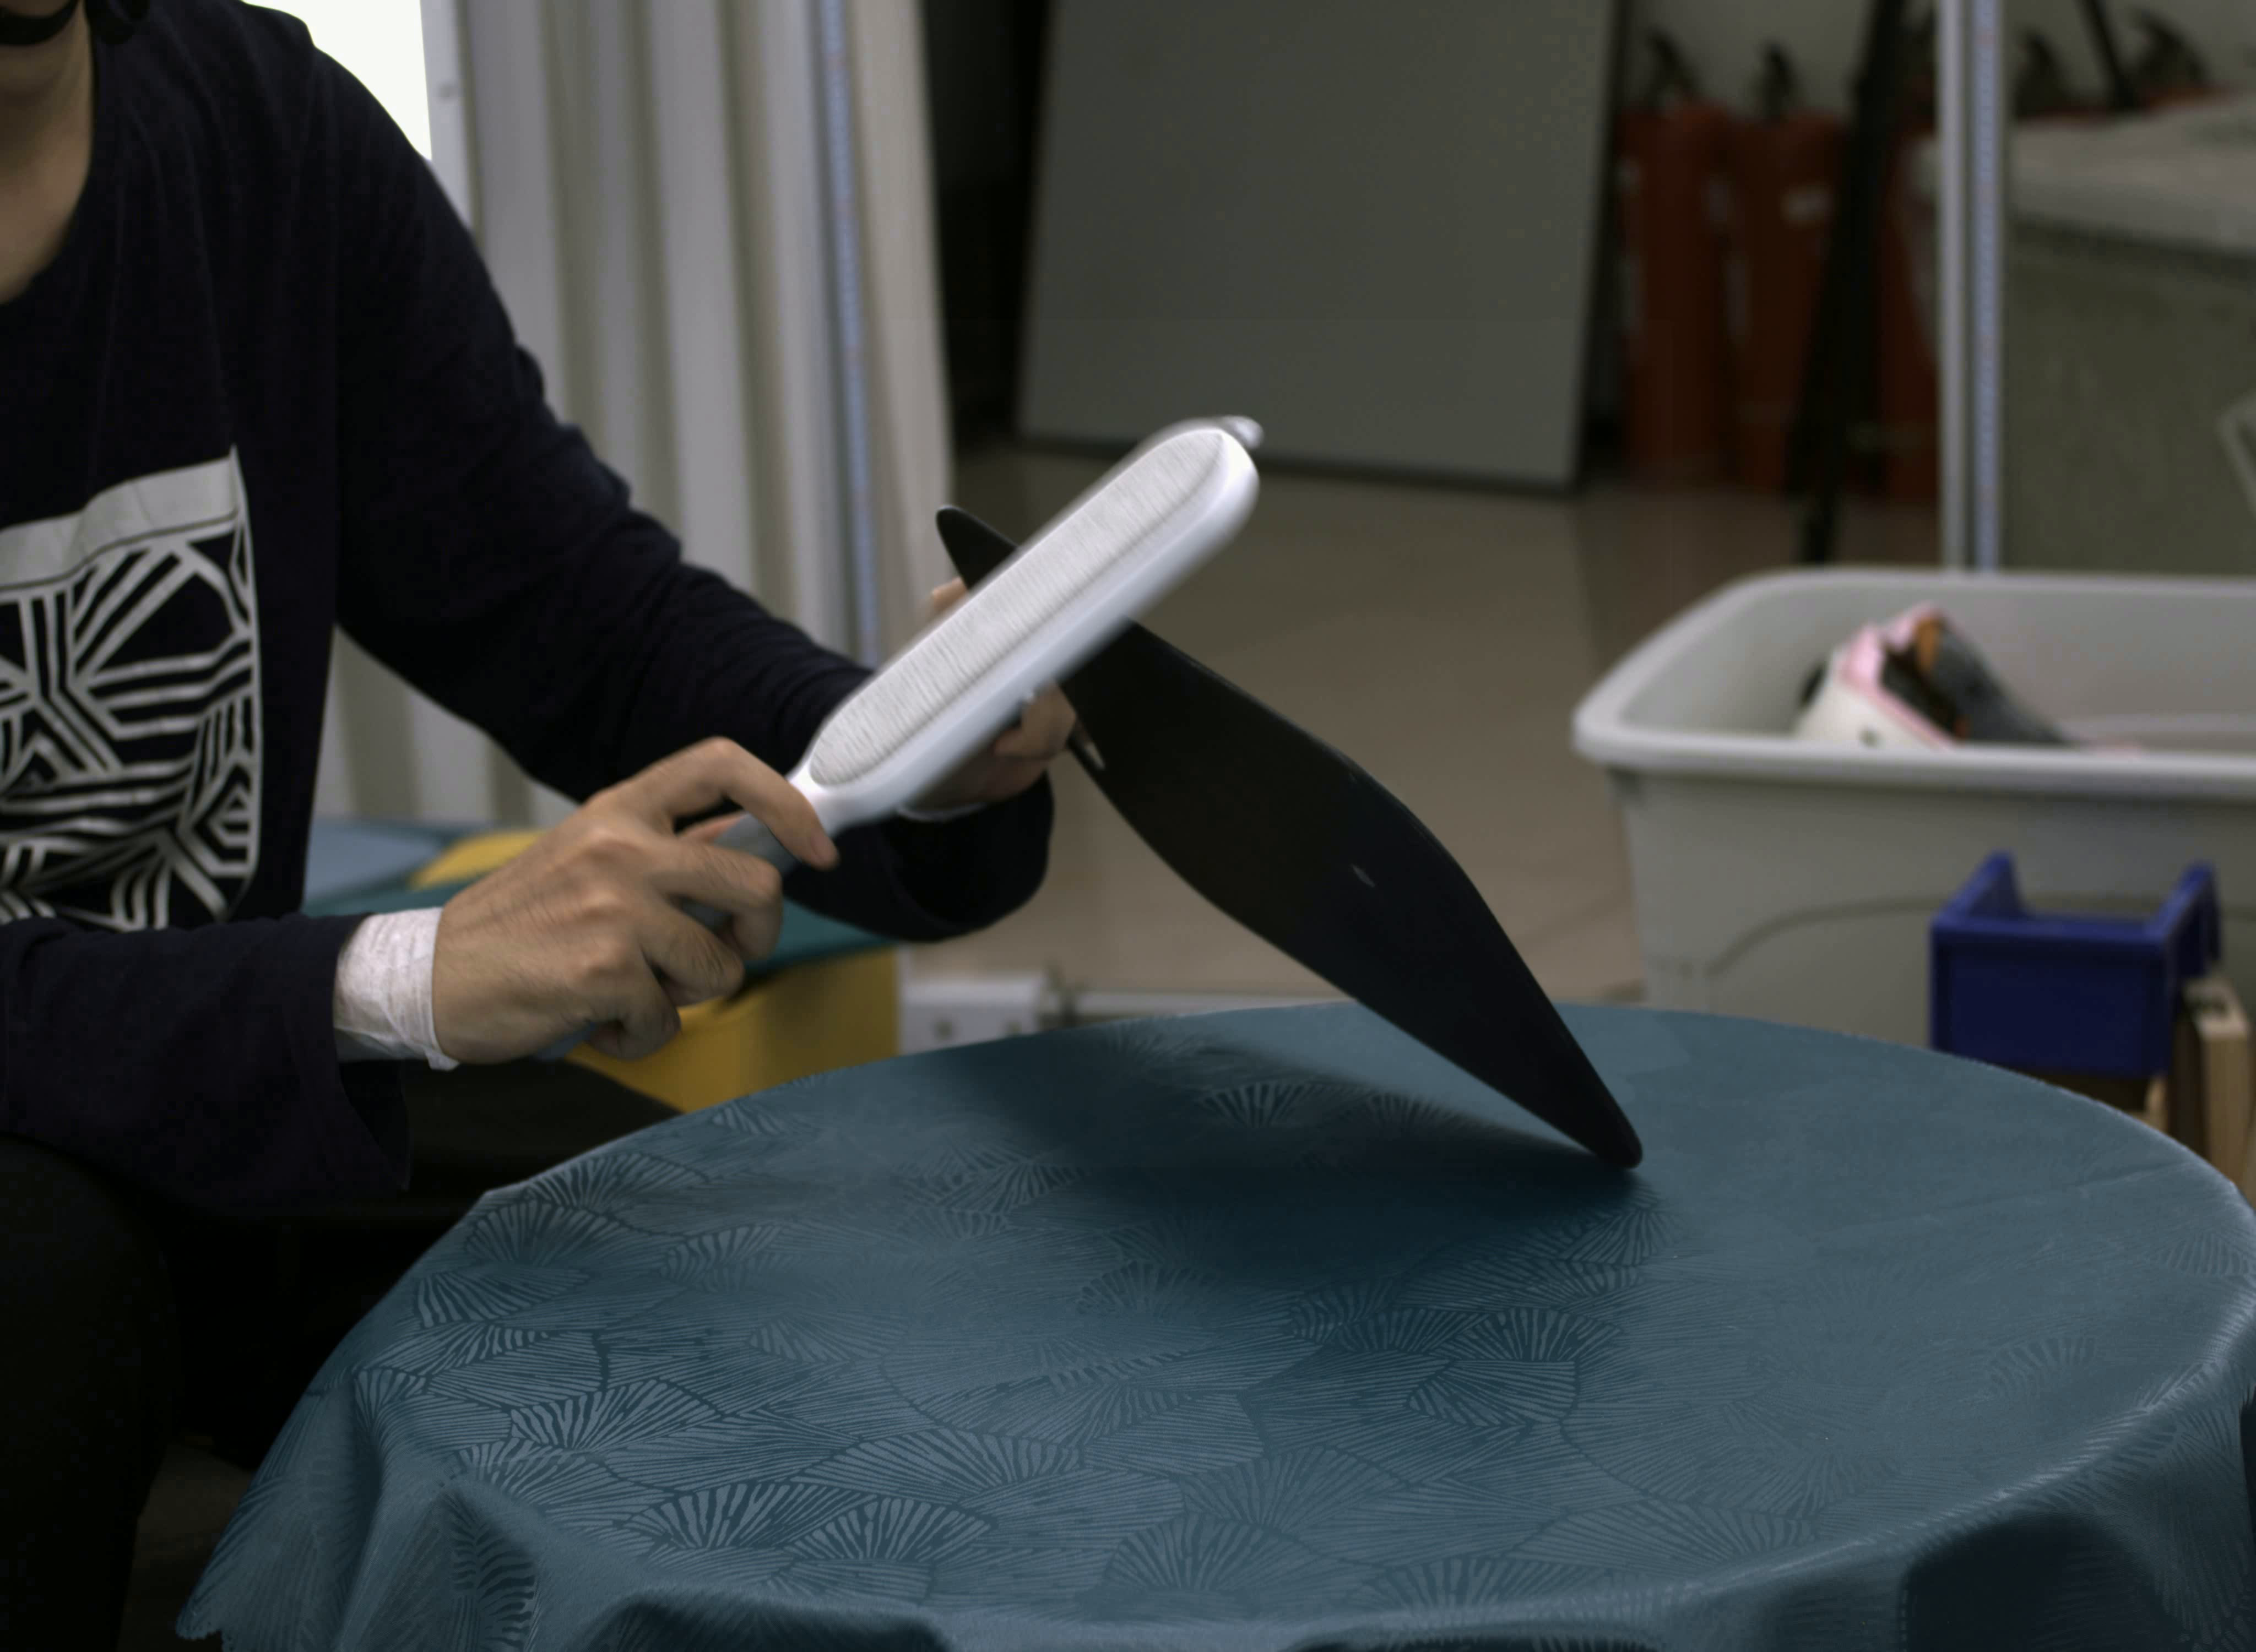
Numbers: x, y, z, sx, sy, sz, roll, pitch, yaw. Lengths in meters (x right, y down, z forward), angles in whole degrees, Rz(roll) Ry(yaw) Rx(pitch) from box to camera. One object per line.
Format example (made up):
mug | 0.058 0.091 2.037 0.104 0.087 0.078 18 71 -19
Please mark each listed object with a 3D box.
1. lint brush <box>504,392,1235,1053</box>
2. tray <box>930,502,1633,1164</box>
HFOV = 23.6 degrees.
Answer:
lint brush | -0.085 -0.032 1.750 0.309 0.020 0.061 -41 34 5
tray | 0.044 -0.004 1.806 0.010 0.209 0.329 -43 38 -11
